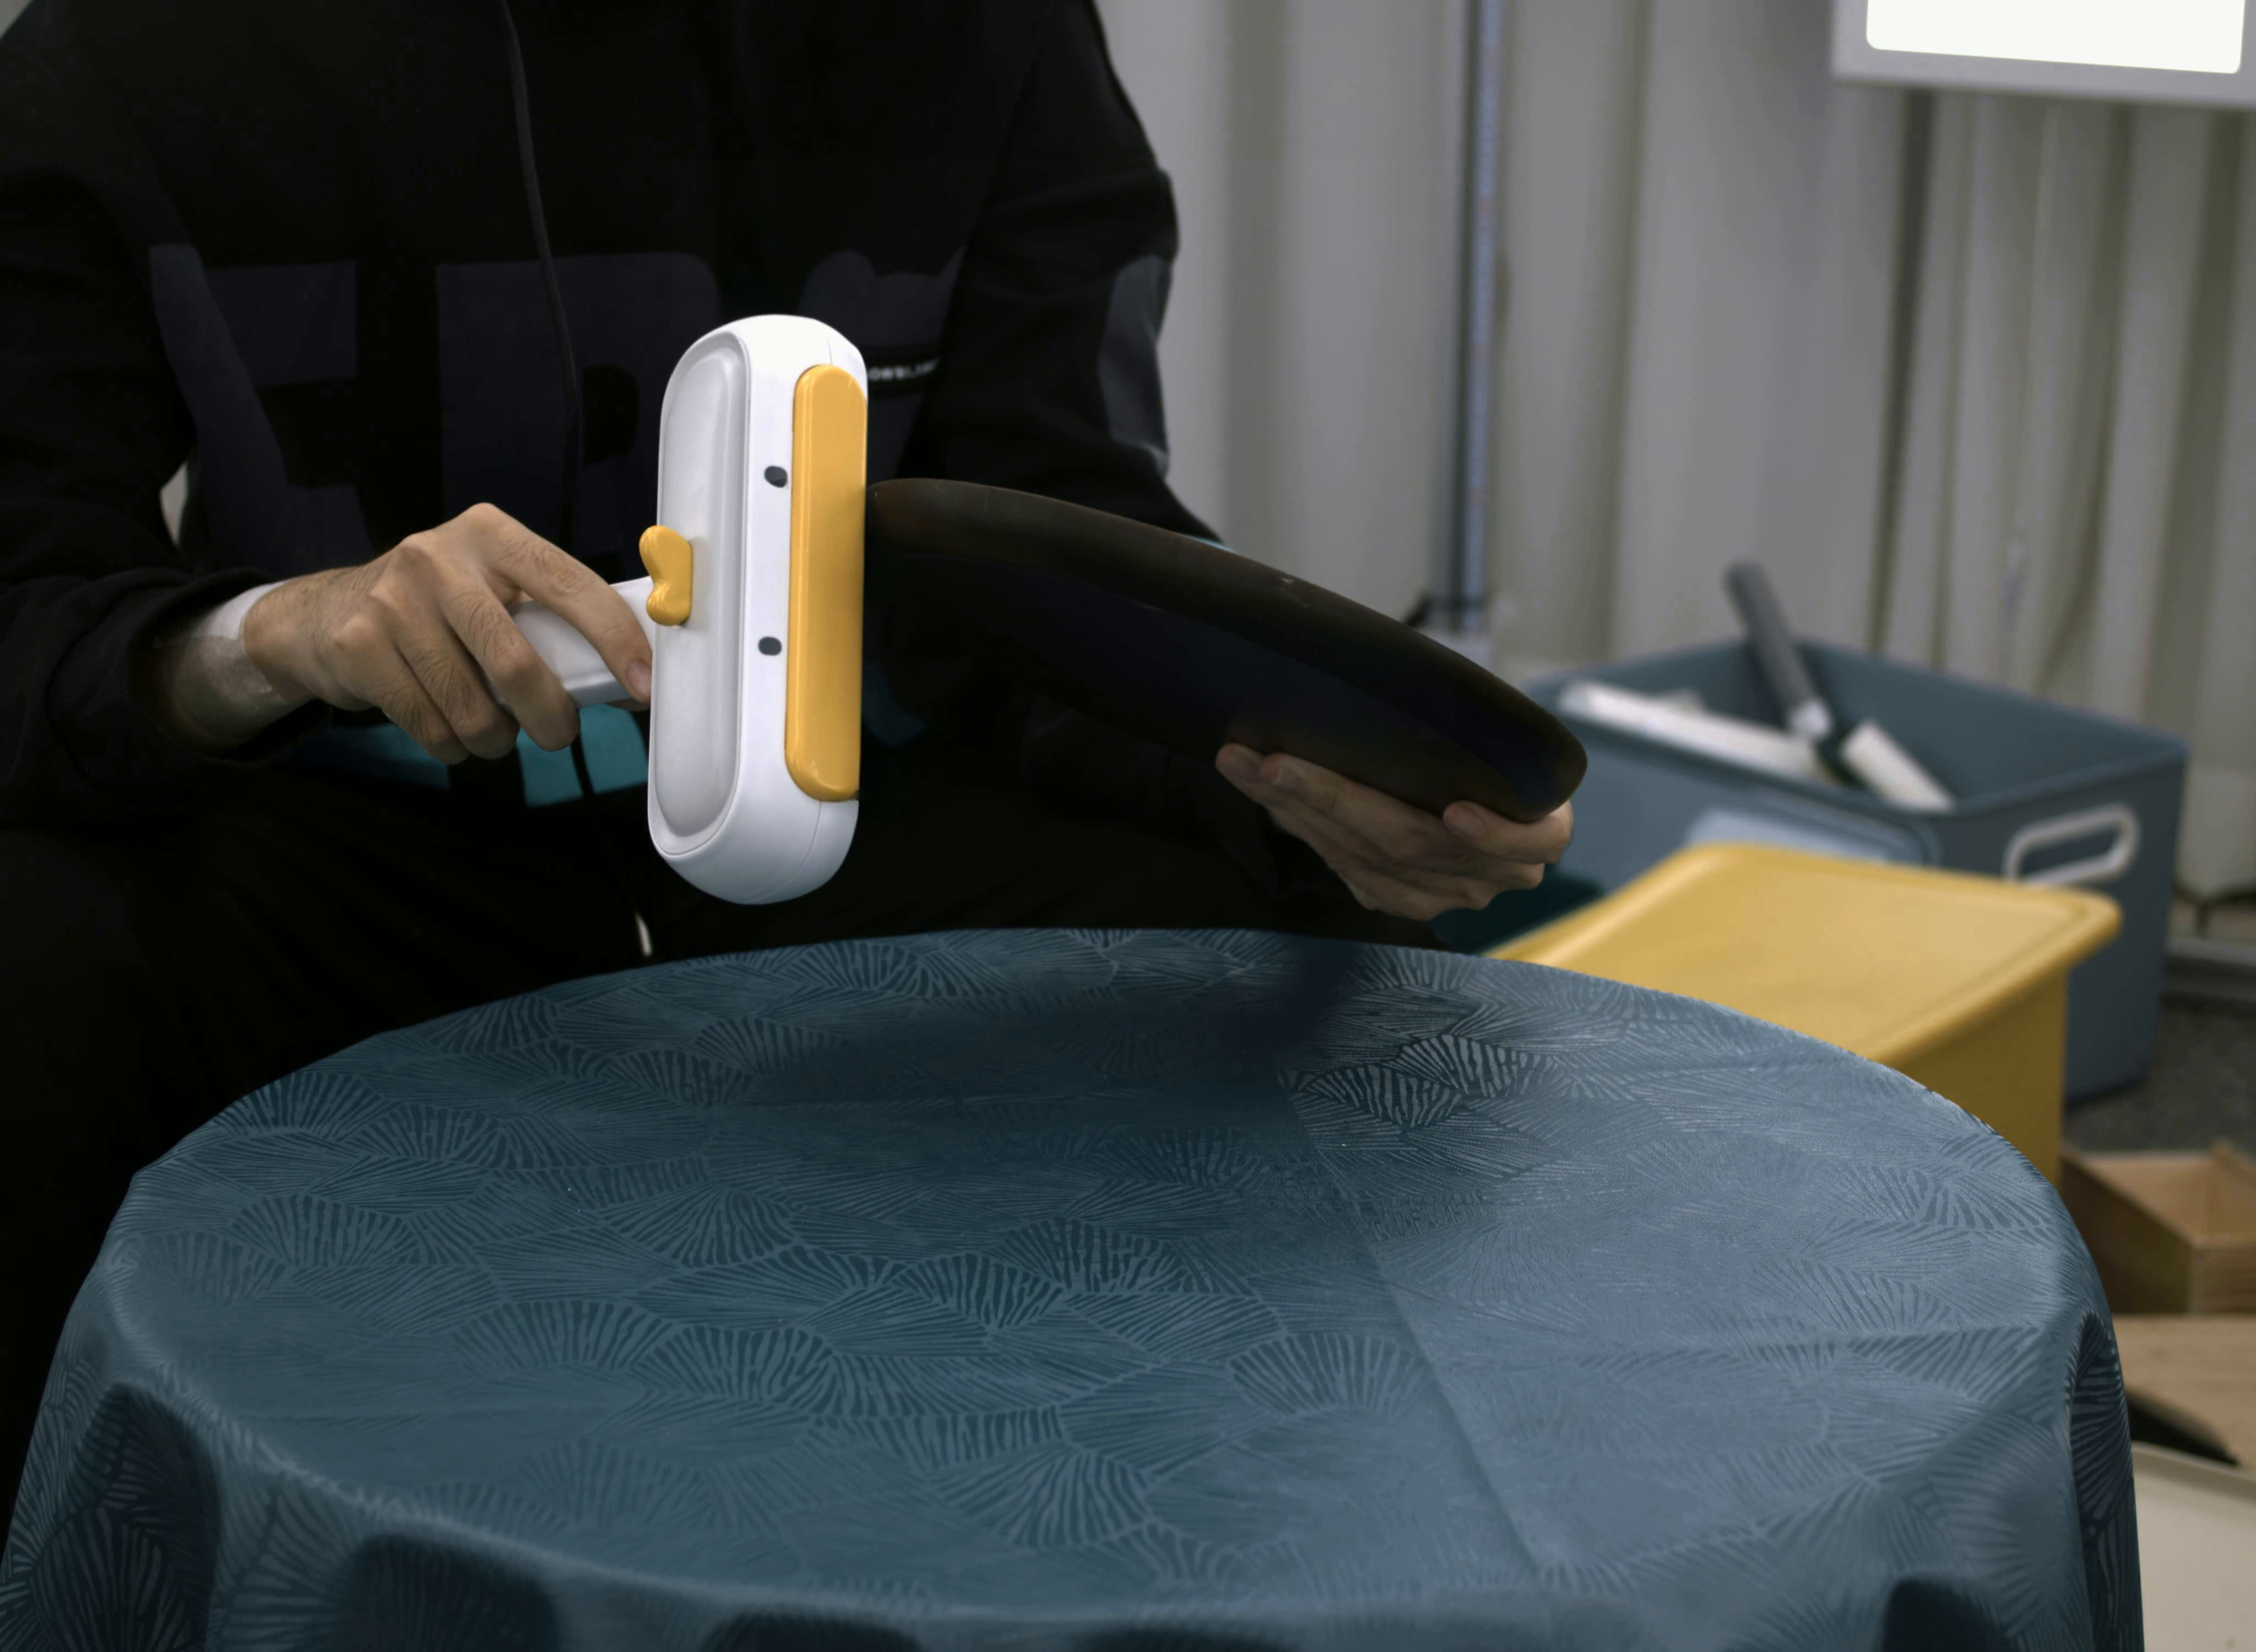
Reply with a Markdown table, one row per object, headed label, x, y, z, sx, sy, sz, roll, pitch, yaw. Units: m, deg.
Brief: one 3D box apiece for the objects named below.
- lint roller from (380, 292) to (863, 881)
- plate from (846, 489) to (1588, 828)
| label | x | y | z | sx | sy | sz | roll | pitch | yaw |
| --- | --- | --- | --- | --- | --- | --- | --- | --- | --- |
| lint roller | -0.163 | -0.063 | 1.710 | 0.191 | 0.192 | 0.075 | -20 | -22 | 41 |
| plate | 0.026 | -0.052 | 1.707 | 0.253 | 0.029 | 0.256 | 18 | -12 | 4 |
